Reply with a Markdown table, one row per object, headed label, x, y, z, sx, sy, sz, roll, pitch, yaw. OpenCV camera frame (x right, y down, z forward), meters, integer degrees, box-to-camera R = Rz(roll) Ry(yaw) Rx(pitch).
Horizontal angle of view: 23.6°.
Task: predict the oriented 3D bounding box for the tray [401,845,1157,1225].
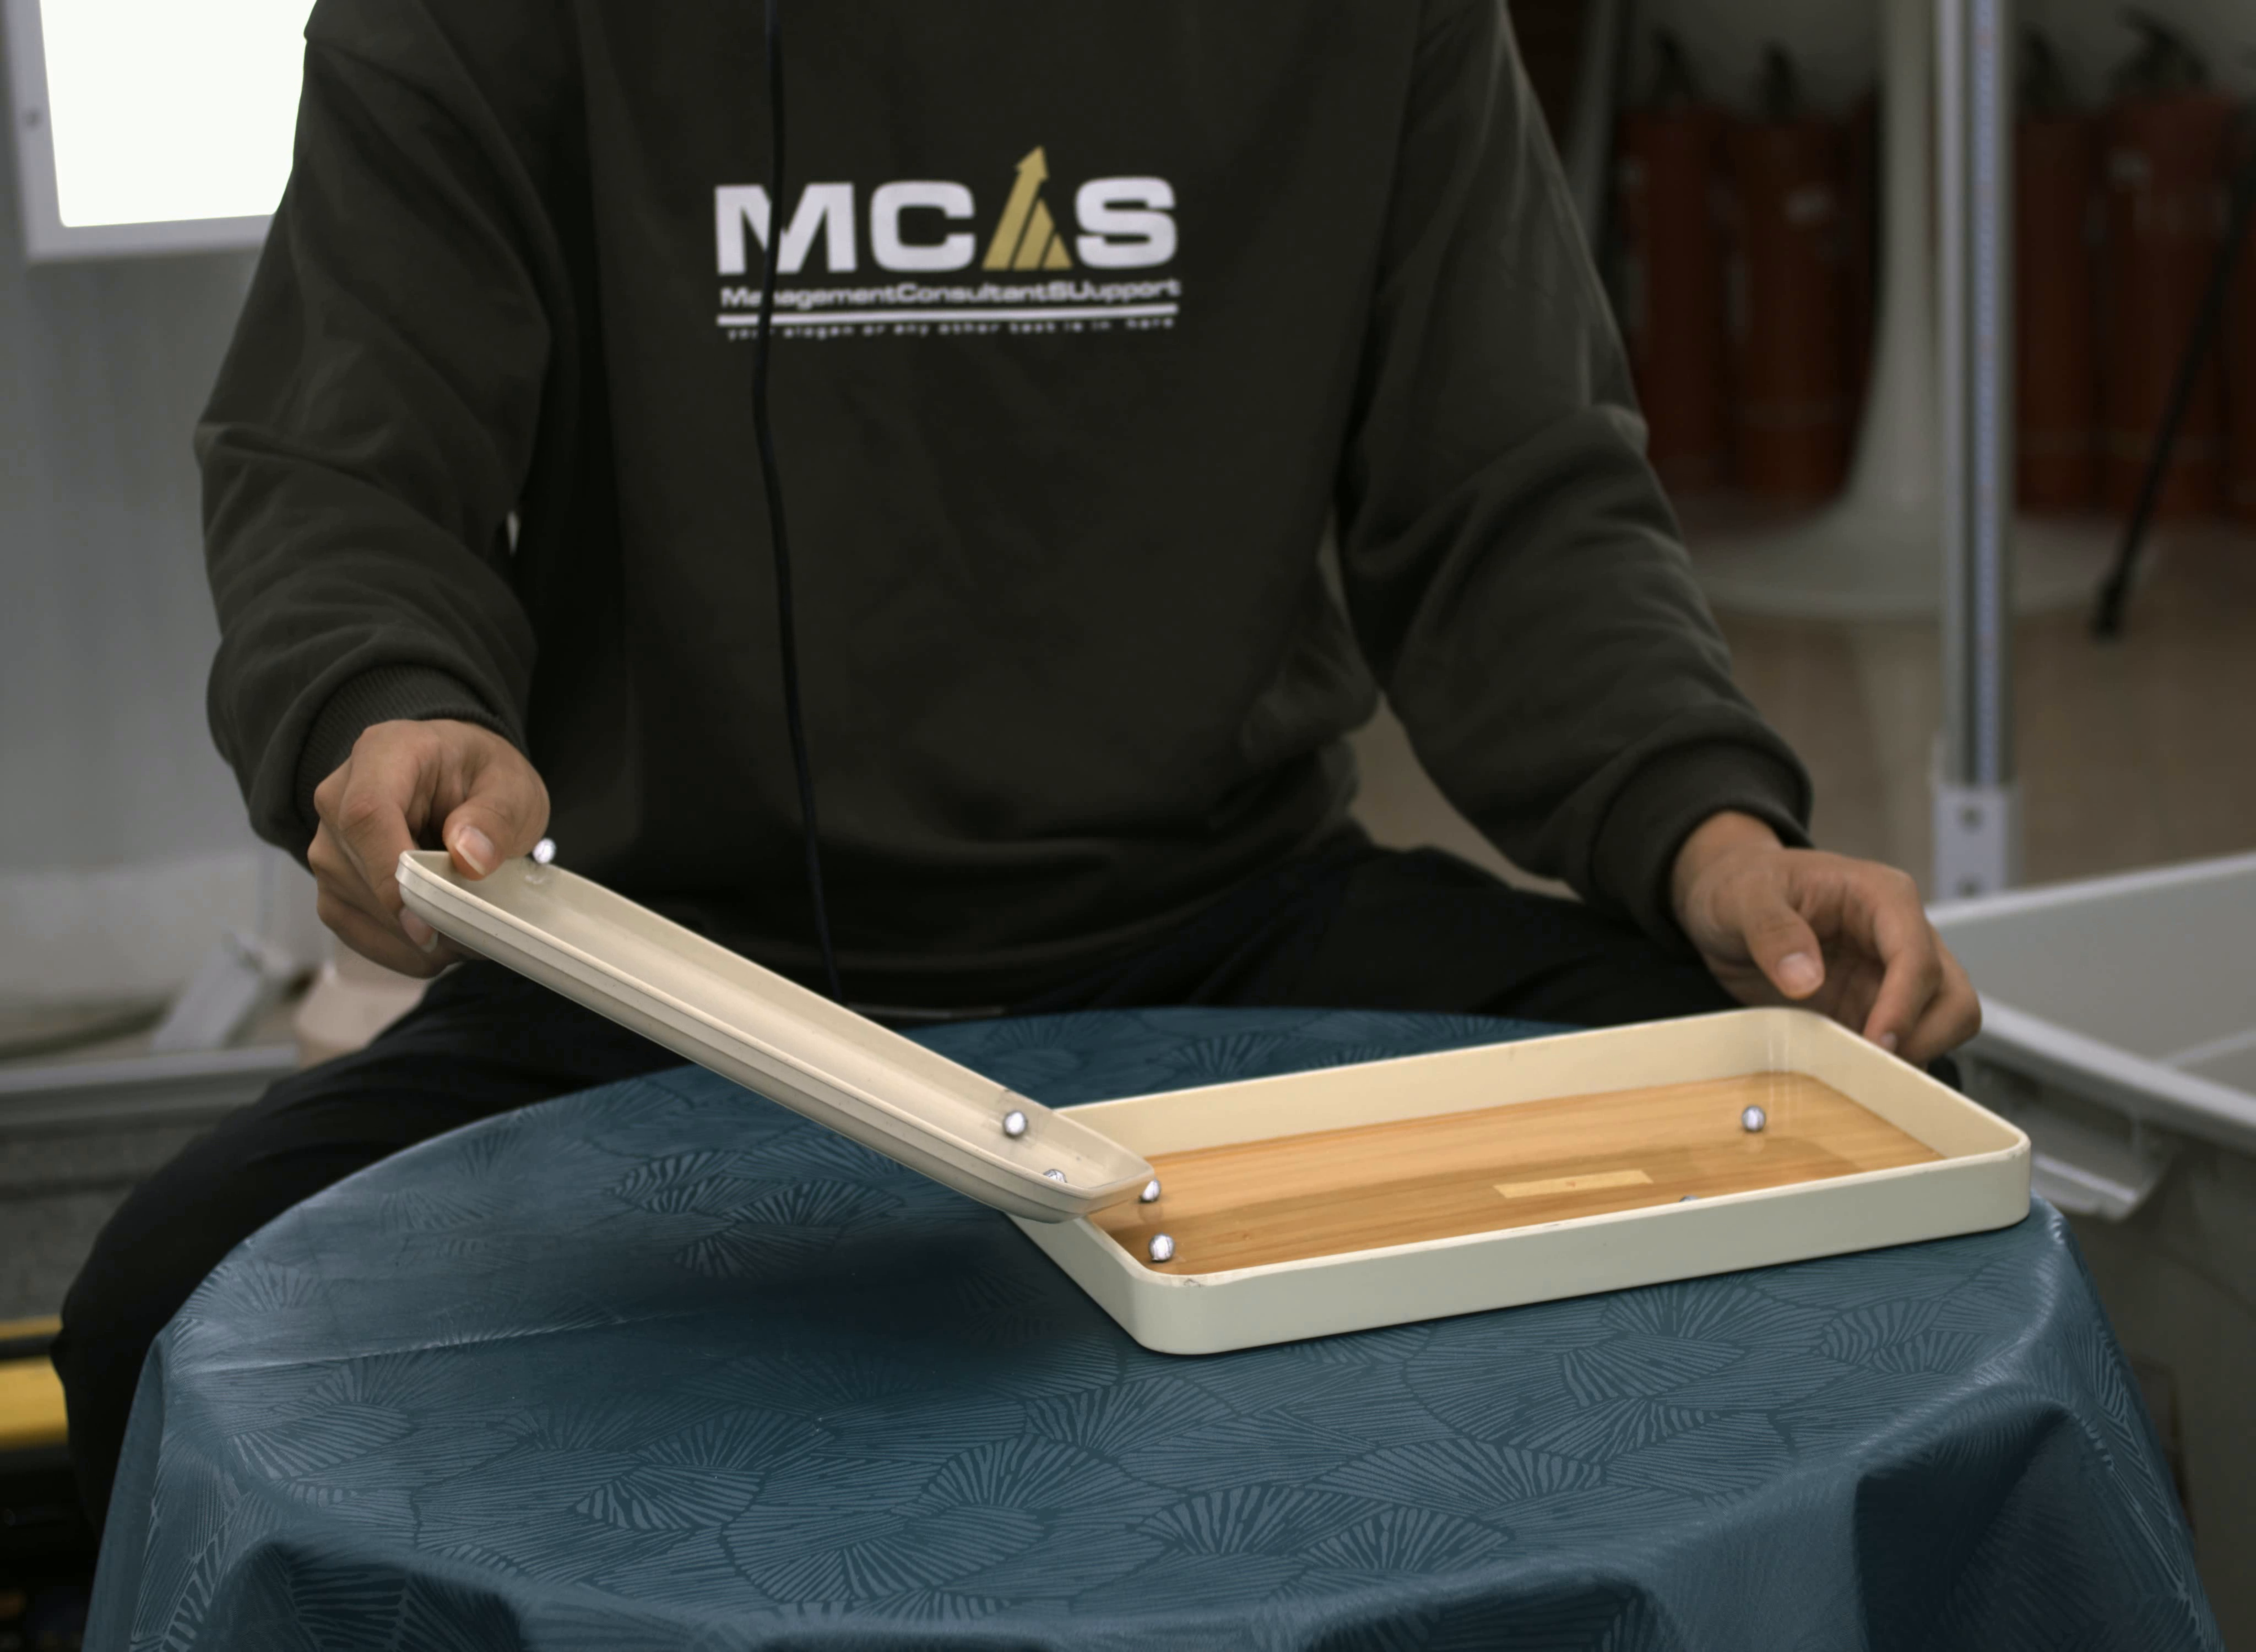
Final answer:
| label | x | y | z | sx | sy | sz | roll | pitch | yaw |
| --- | --- | --- | --- | --- | --- | --- | --- | --- | --- |
| tray | -0.107 | 0.066 | 1.676 | 0.239 | 0.017 | 0.170 | 26 | 3 | 11 |

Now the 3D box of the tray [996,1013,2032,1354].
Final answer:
| label | x | y | z | sx | sy | sz | roll | pitch | yaw |
| --- | --- | --- | --- | --- | --- | --- | --- | --- | --- |
| tray | 0.120 | 0.112 | 1.729 | 0.294 | 0.028 | 0.193 | -7 | 13 | -16 |
